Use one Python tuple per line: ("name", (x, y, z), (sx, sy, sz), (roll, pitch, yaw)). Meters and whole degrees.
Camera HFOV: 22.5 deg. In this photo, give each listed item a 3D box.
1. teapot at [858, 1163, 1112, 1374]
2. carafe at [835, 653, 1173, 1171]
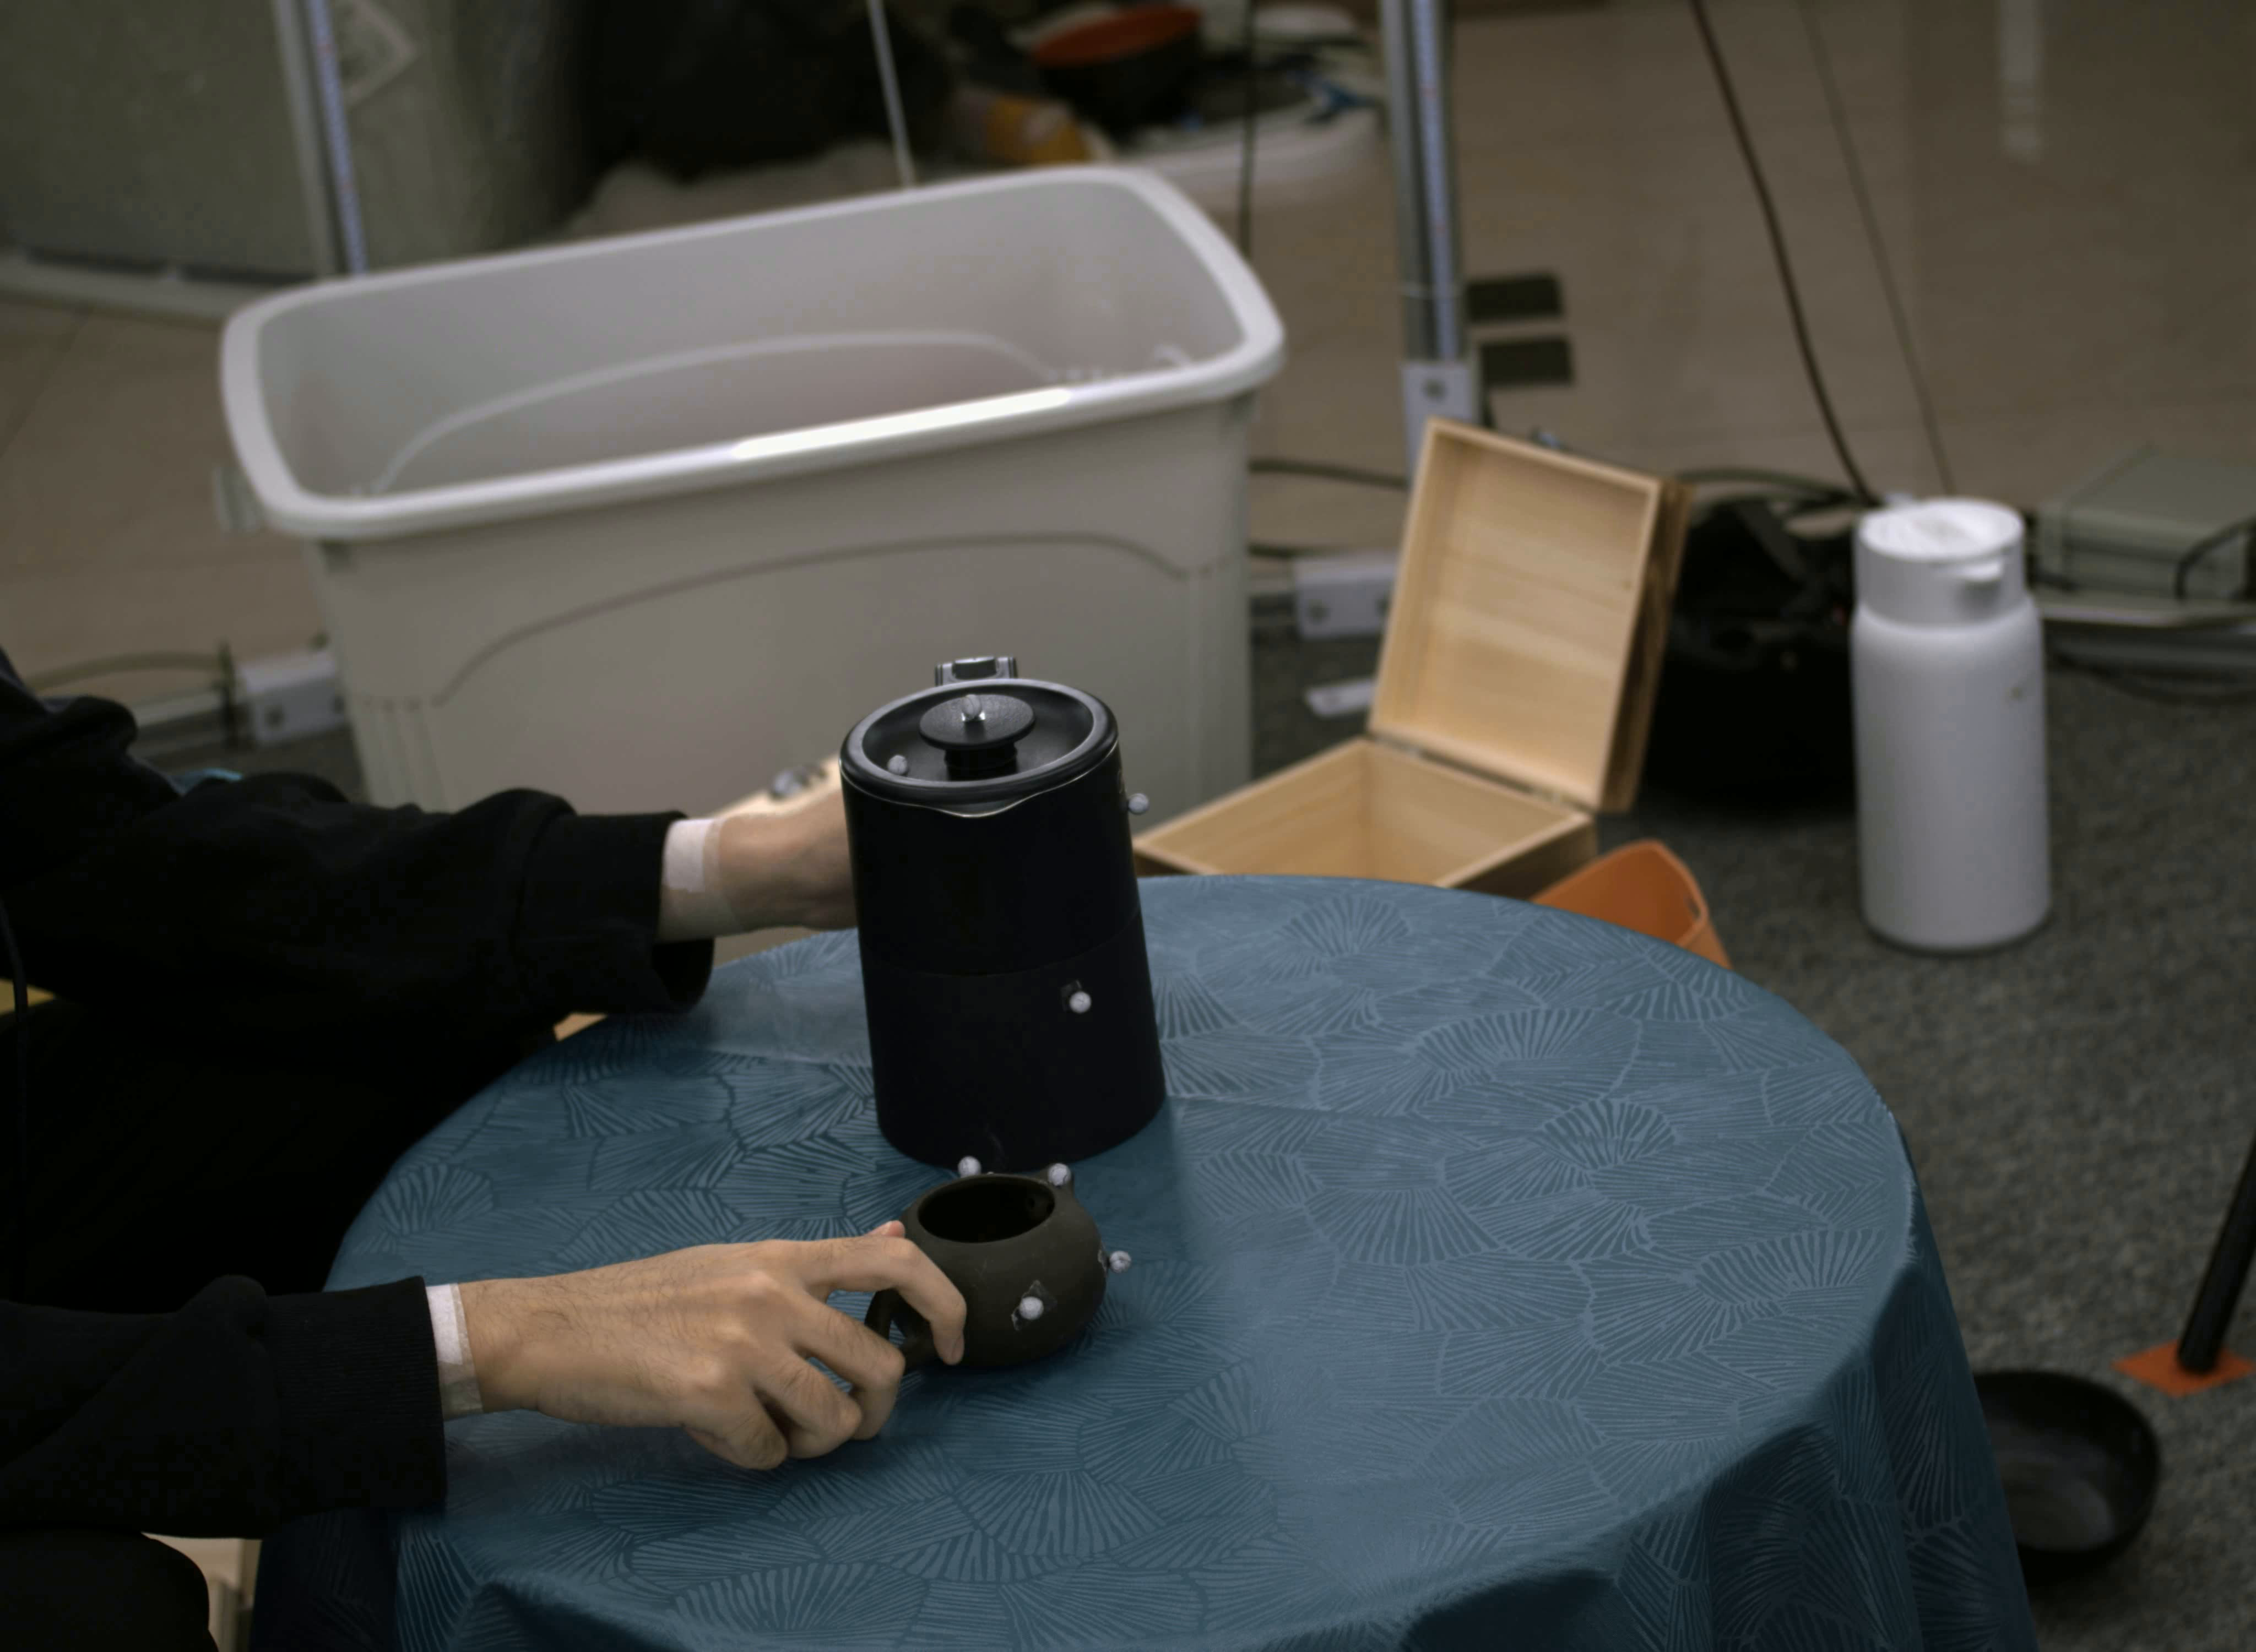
("teapot", (-0.056, 0.163, 2.046), (0.082, 0.054, 0.113), (17, 30, 42))
("carafe", (-0.051, 0.024, 2.199), (0.114, 0.176, 0.169), (-8, 28, 0))
